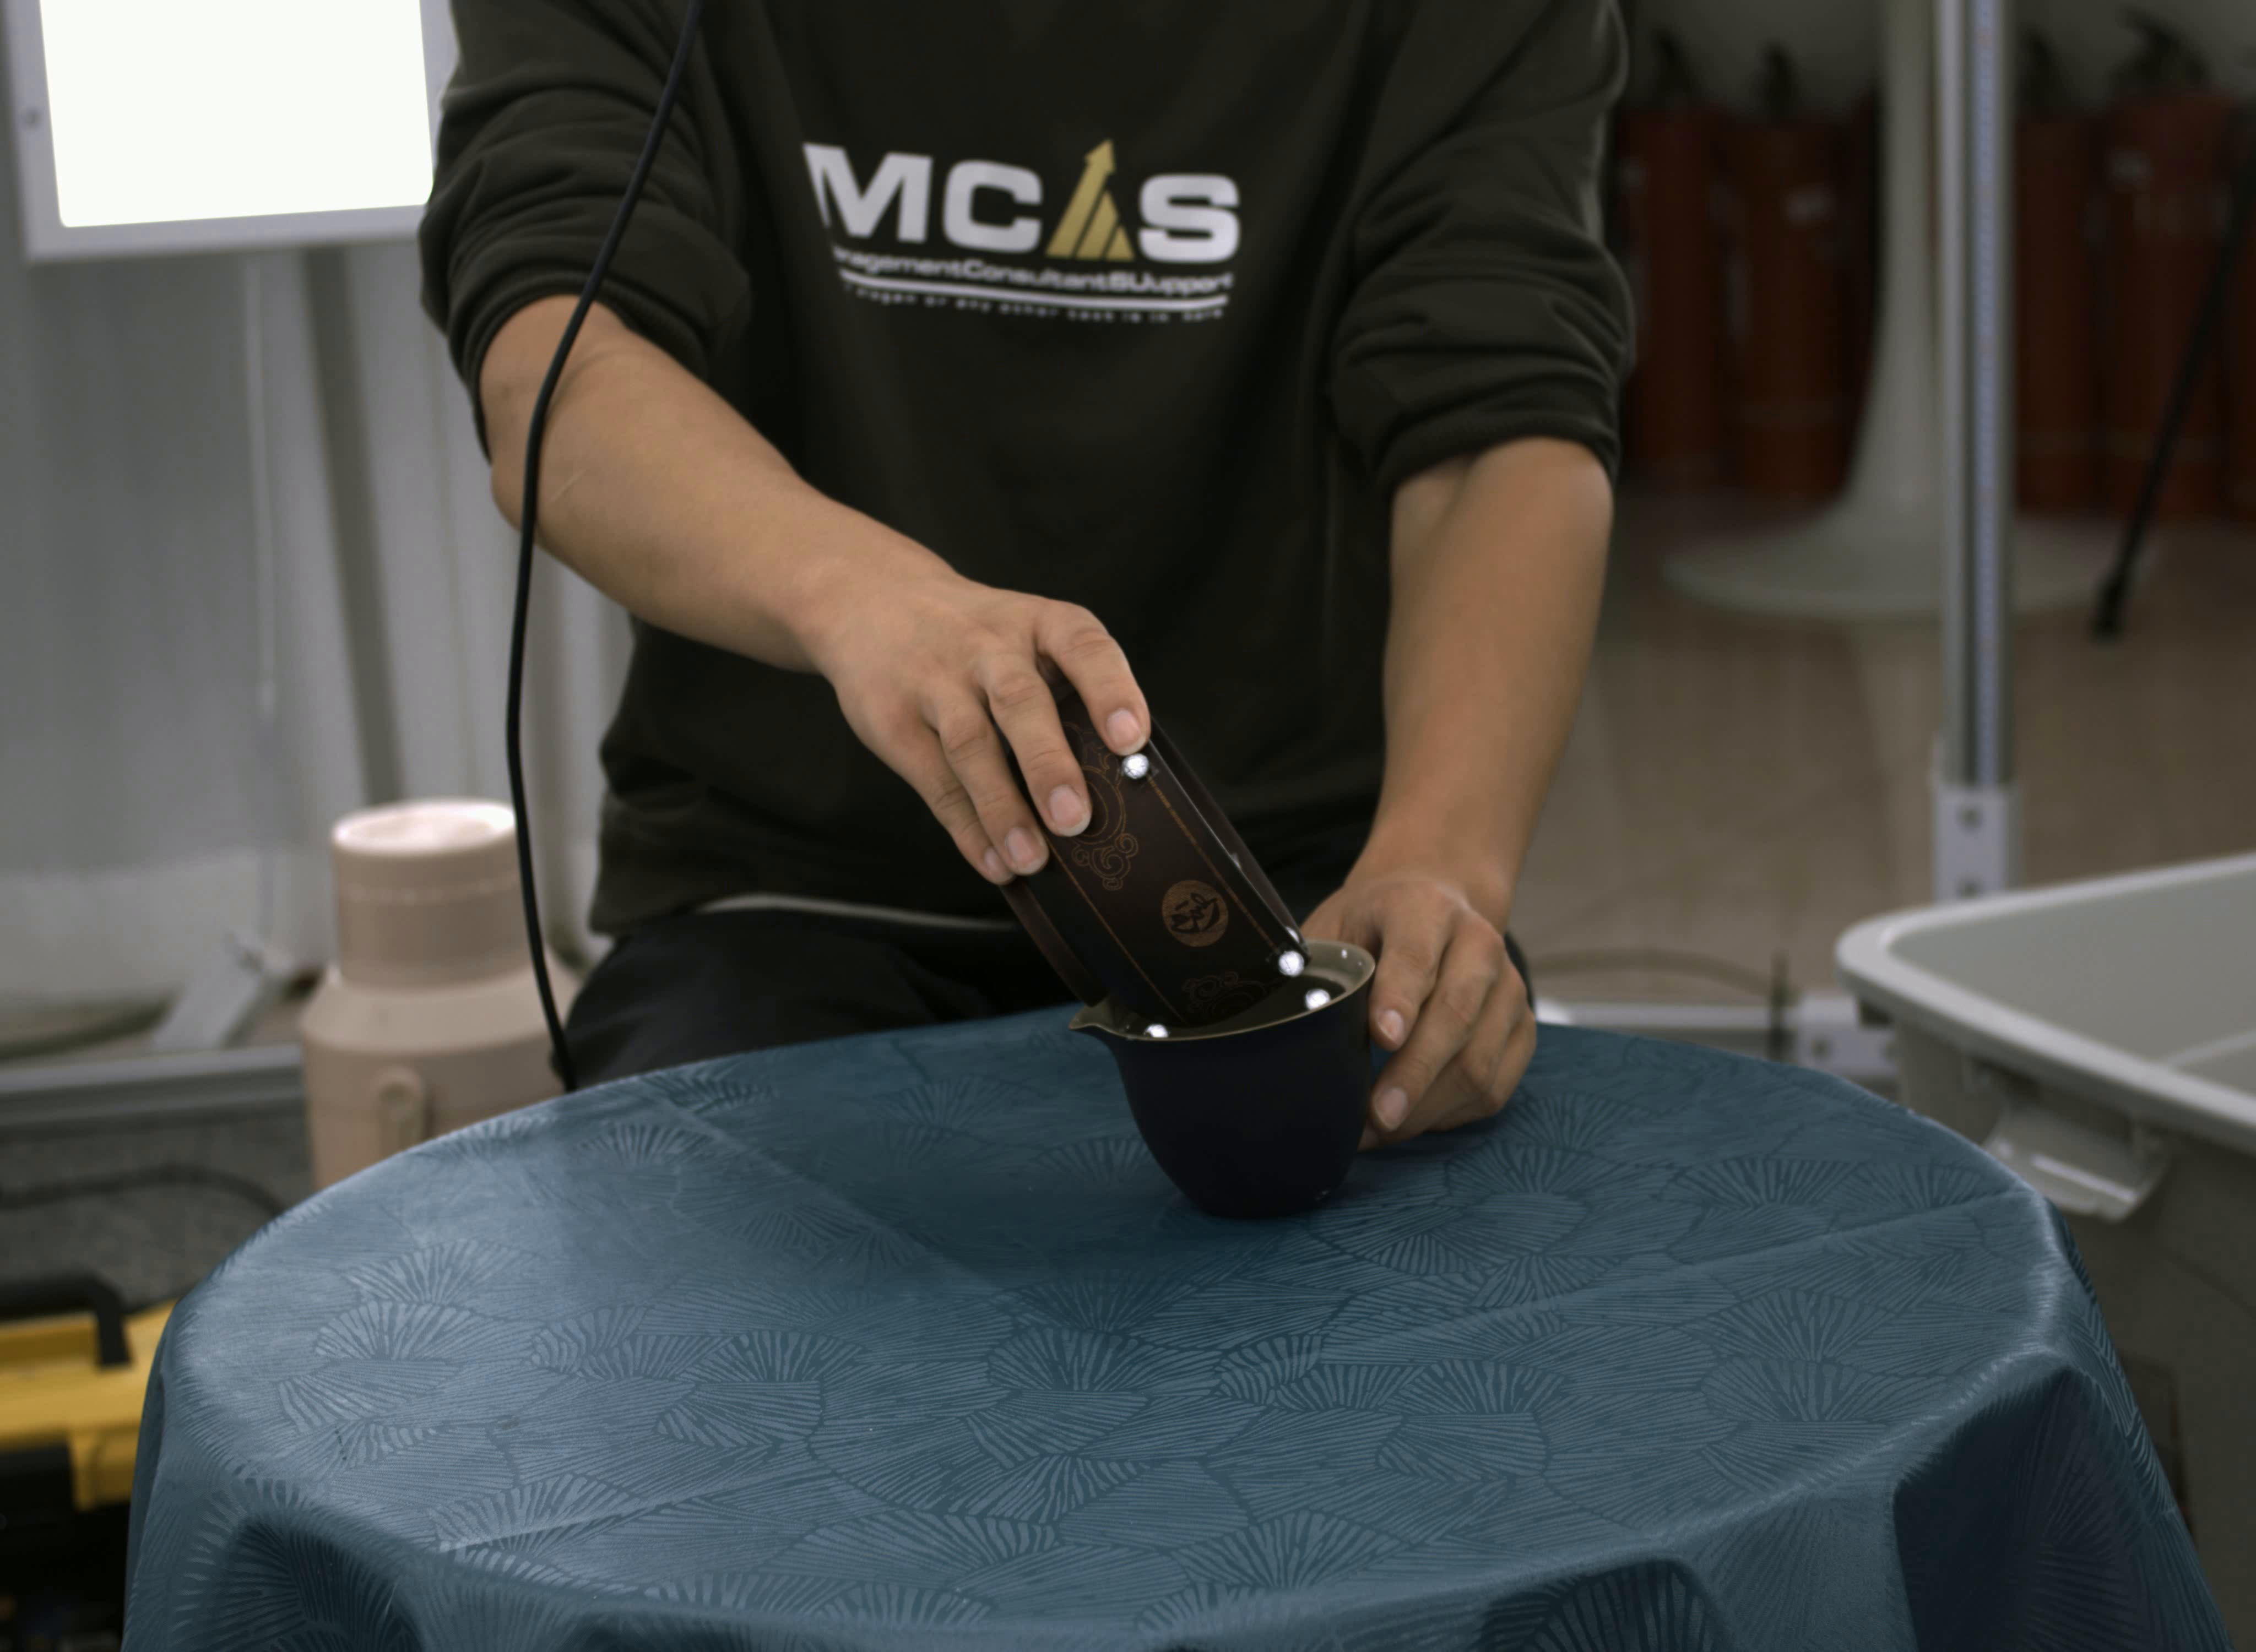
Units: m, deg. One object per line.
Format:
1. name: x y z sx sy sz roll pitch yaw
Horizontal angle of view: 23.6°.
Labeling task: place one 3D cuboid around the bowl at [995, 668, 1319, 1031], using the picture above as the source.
1. bowl: 0.001 0.016 1.728 0.069 0.118 0.118 -37 14 2

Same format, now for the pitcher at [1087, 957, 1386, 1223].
1. pitcher: 0.041 0.087 1.747 0.095 0.072 0.083 -11 18 12
